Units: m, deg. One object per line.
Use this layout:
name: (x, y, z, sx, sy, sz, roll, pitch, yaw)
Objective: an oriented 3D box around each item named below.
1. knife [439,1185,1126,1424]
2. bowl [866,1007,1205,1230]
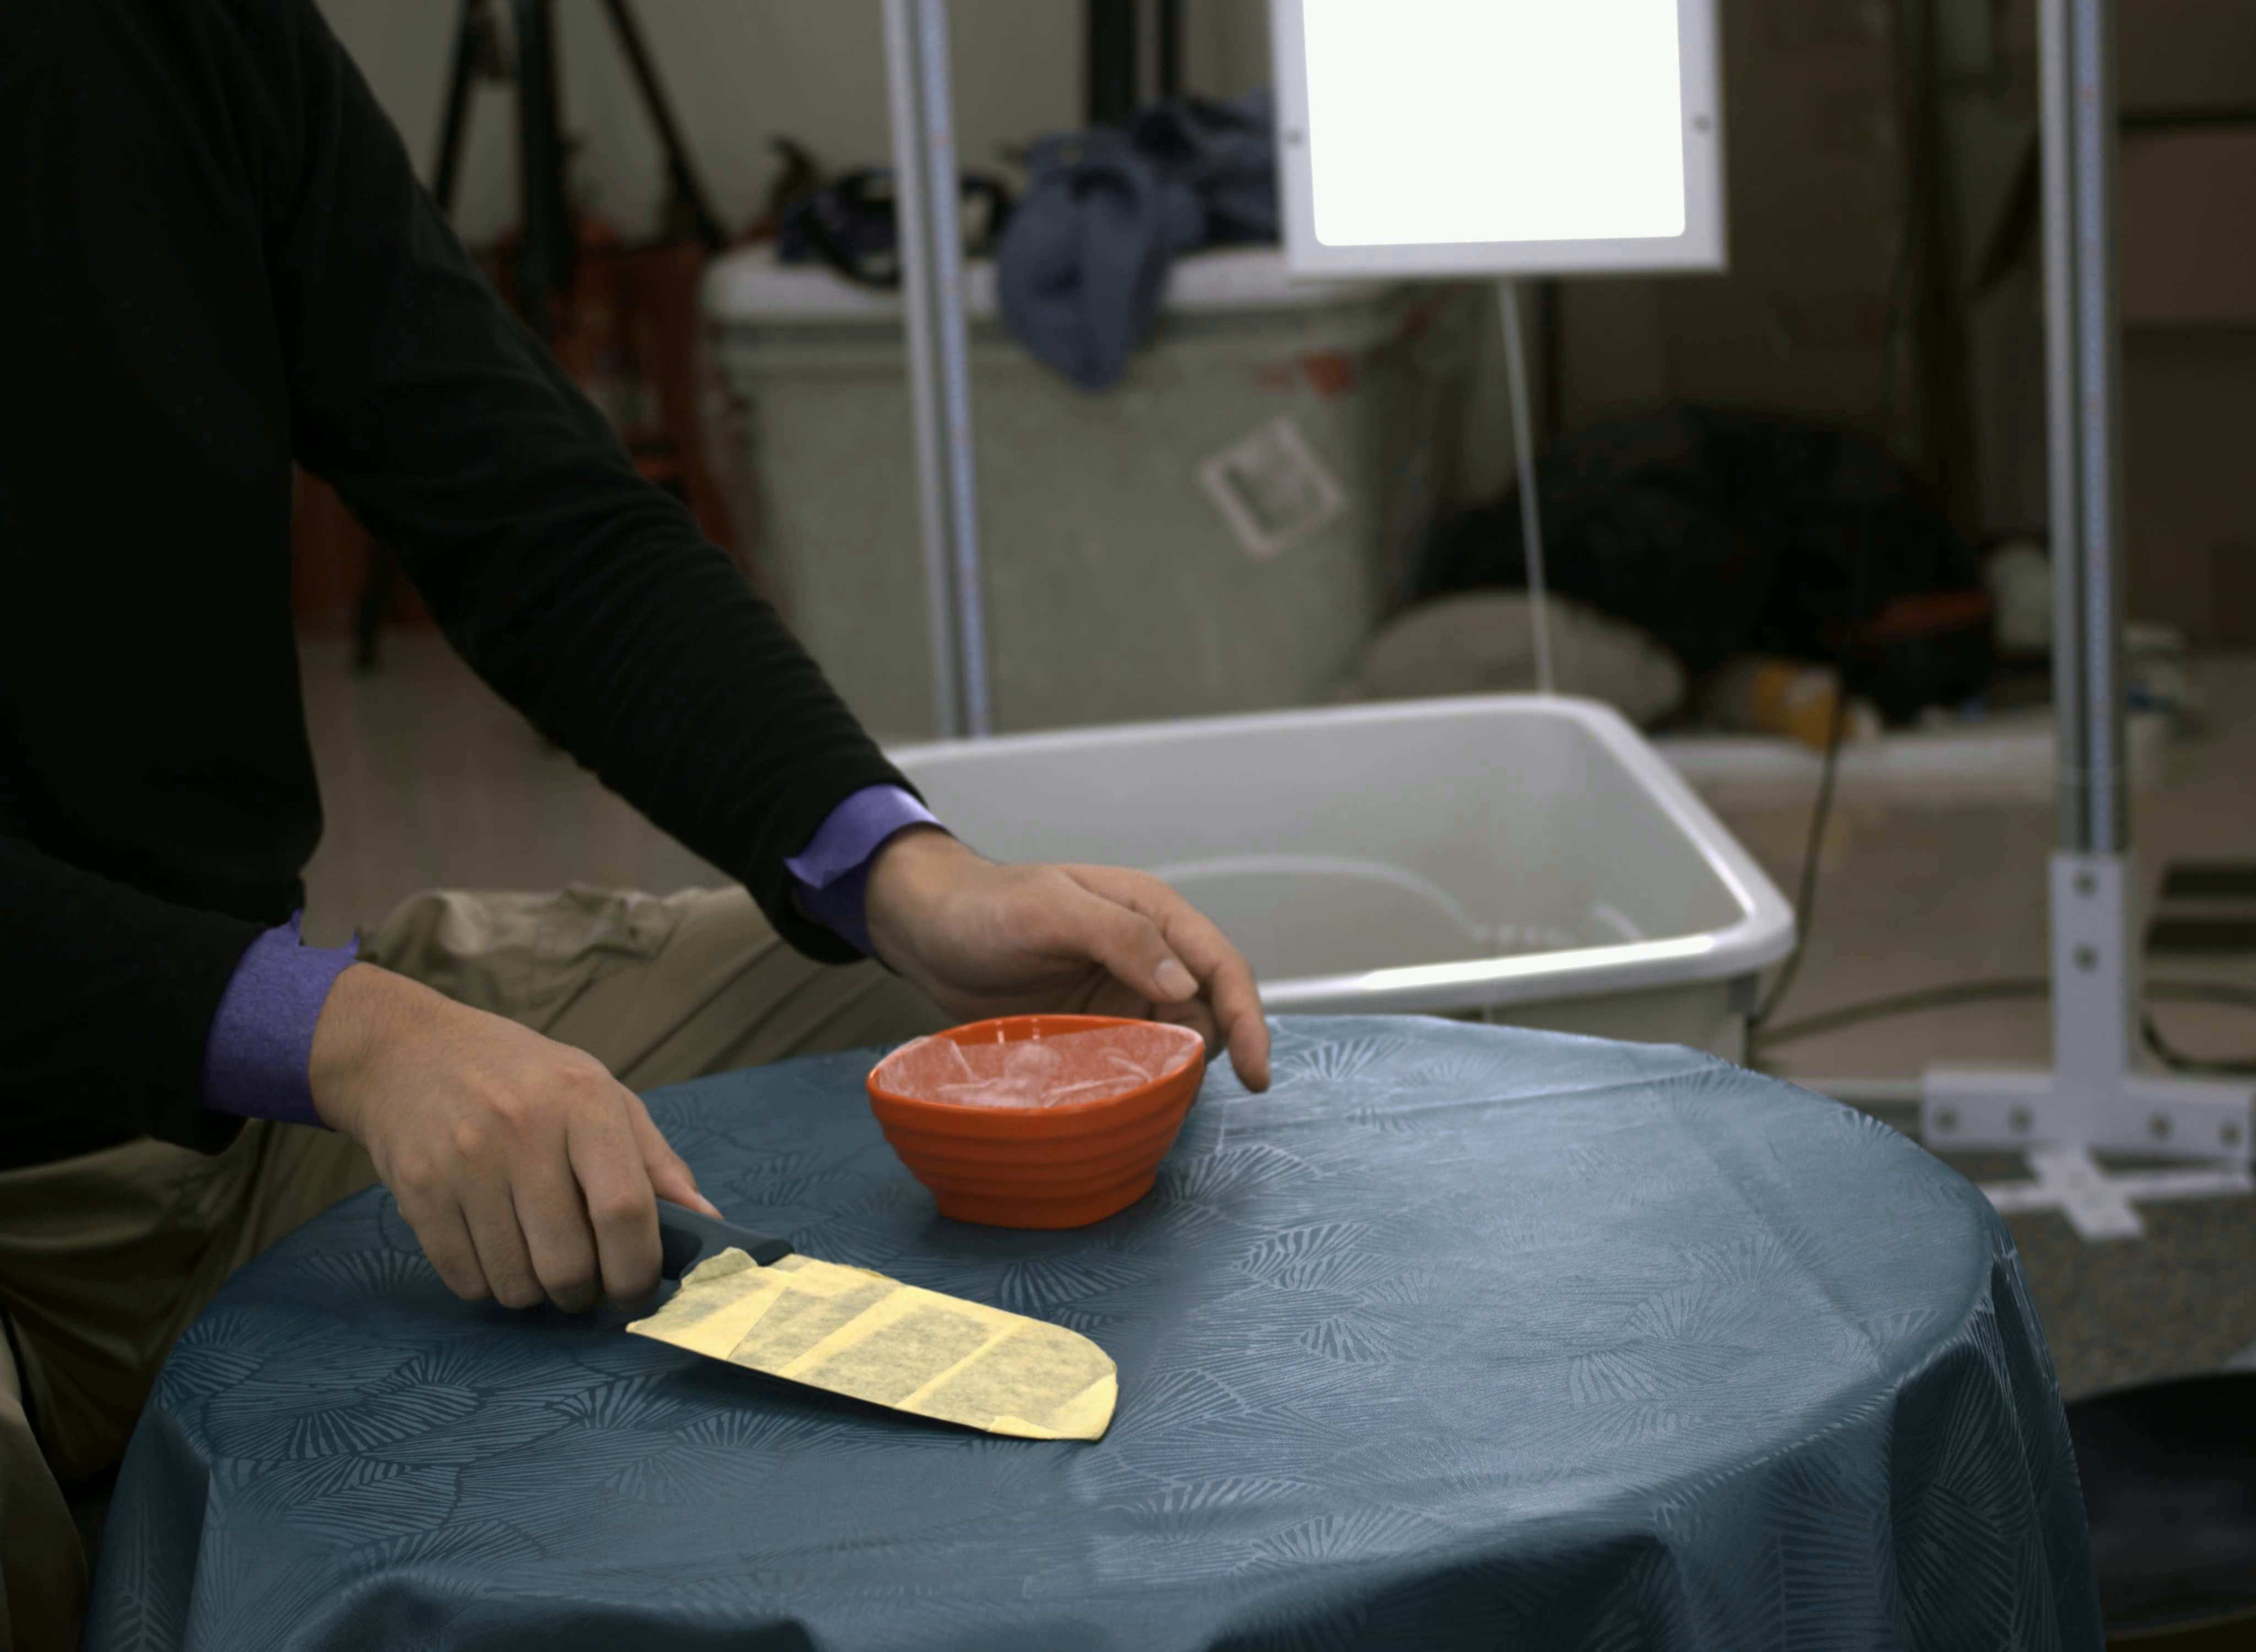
knife: (-0.119, 0.154, 1.762, 0.295, 0.027, 0.079, 11, 24, 37)
bowl: (-0.030, 0.103, 1.895, 0.118, 0.051, 0.119, -5, 16, 0)
